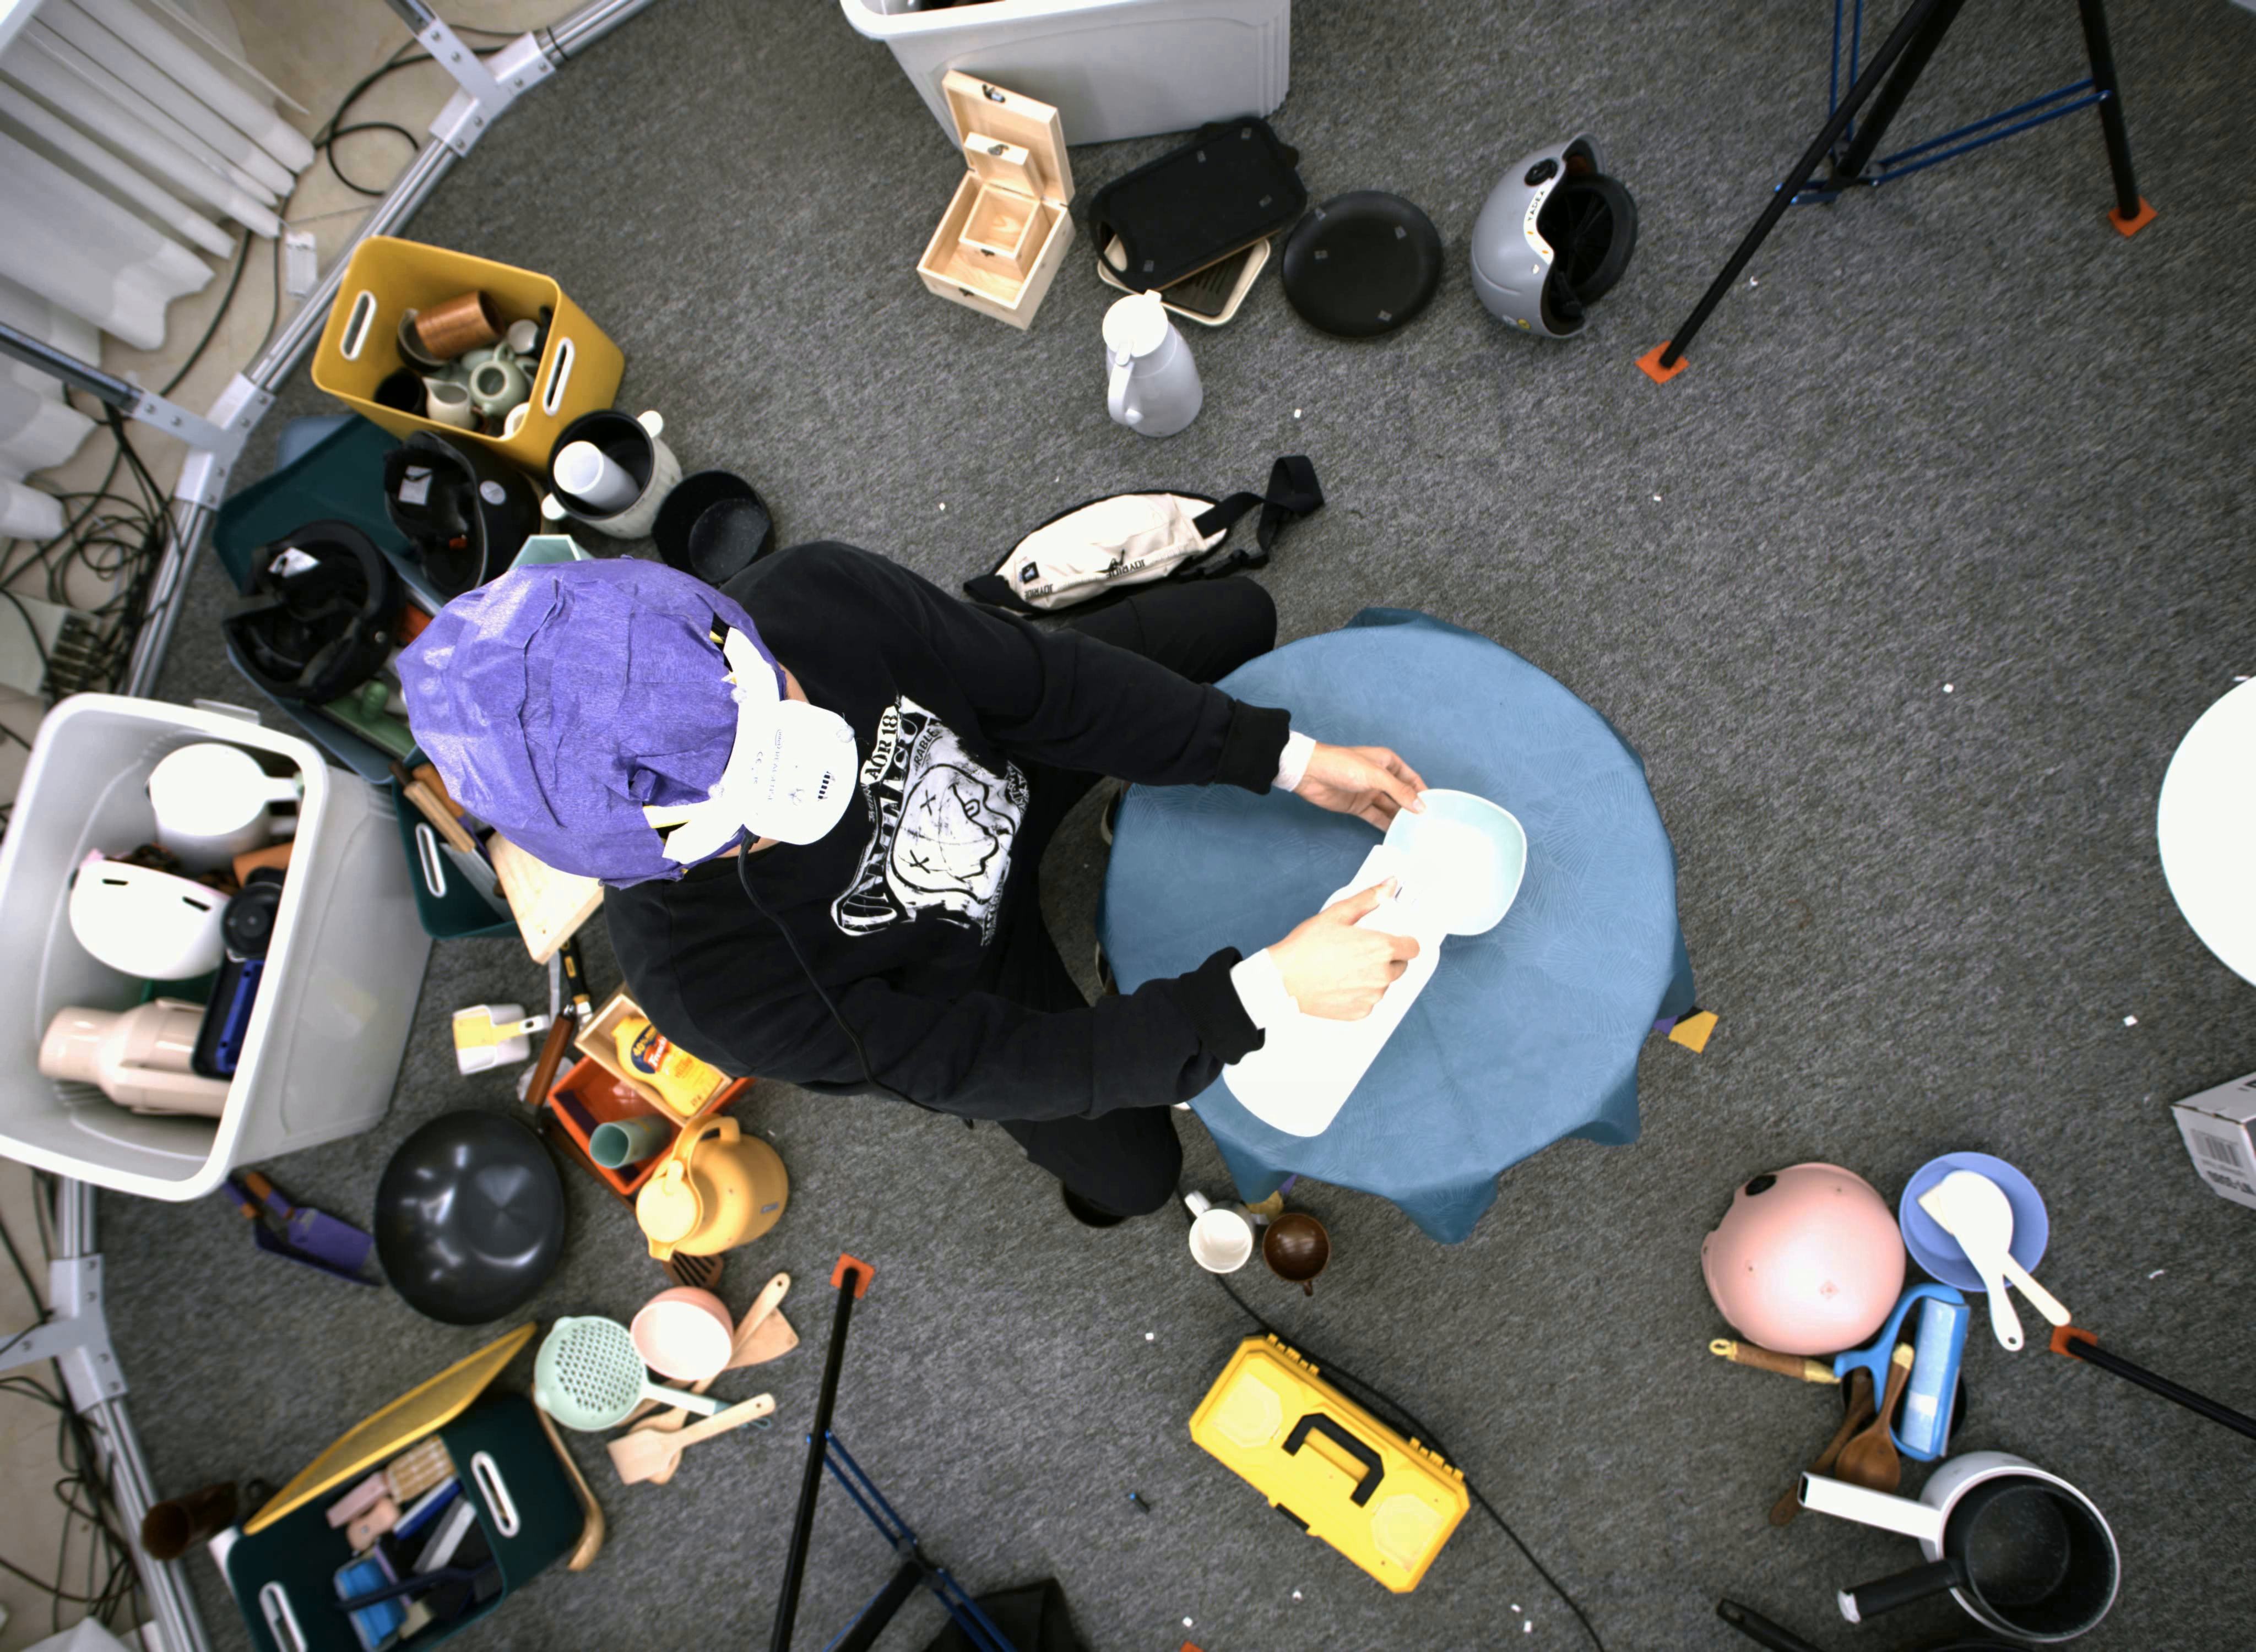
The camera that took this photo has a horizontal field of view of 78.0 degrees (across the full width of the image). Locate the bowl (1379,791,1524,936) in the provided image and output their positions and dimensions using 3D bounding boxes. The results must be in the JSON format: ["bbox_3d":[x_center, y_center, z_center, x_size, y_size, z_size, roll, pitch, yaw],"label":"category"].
[{"bbox_3d":[0.323,0.036,1.388,0.152,0.058,0.151,0,92,11],"label":"bowl"}]

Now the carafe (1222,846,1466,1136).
[{"bbox_3d":[0.197,0.157,1.279,0.123,0.170,0.273,35,110,8],"label":"carafe"}]
